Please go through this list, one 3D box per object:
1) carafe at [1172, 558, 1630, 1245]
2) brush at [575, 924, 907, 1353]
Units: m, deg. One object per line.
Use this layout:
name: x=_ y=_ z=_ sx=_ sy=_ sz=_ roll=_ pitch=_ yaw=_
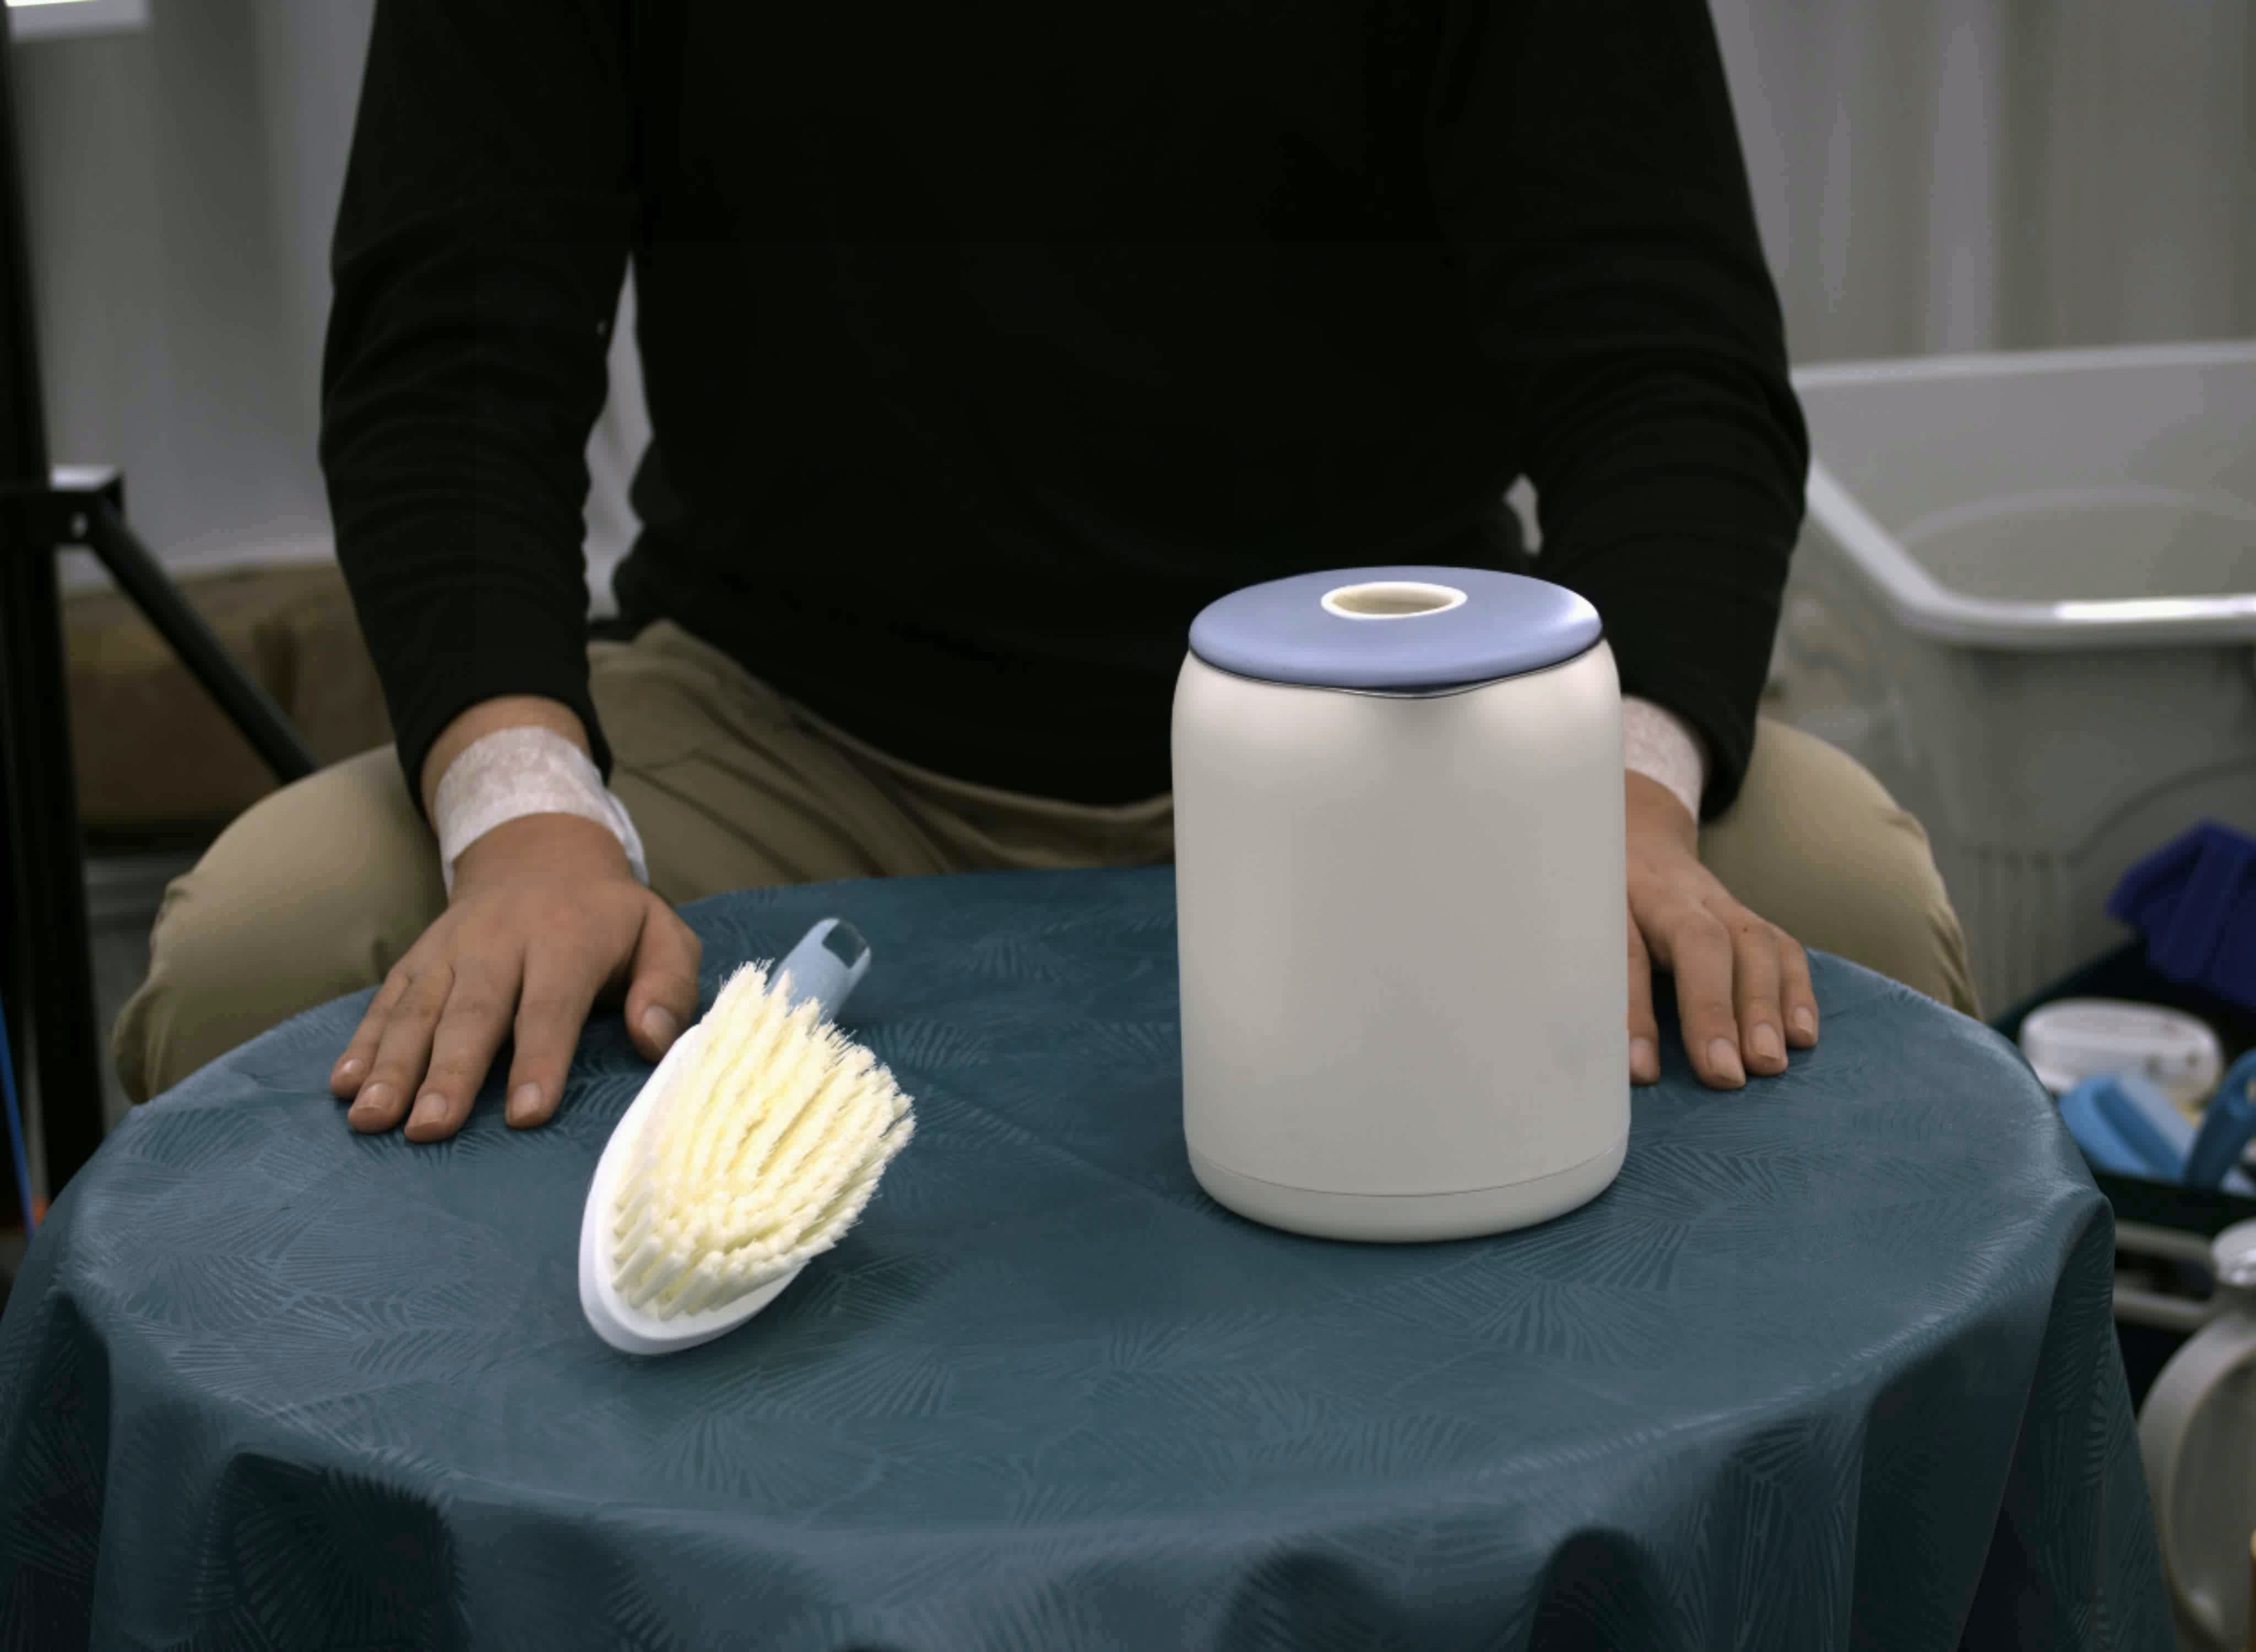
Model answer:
carafe: x=0.077 y=0.014 z=1.560 sx=0.131 sy=0.182 sz=0.192 roll=-3 pitch=14 yaw=-4
brush: x=-0.097 y=0.064 z=1.580 sx=0.085 sy=0.083 sz=0.324 roll=-6 pitch=16 yaw=11
